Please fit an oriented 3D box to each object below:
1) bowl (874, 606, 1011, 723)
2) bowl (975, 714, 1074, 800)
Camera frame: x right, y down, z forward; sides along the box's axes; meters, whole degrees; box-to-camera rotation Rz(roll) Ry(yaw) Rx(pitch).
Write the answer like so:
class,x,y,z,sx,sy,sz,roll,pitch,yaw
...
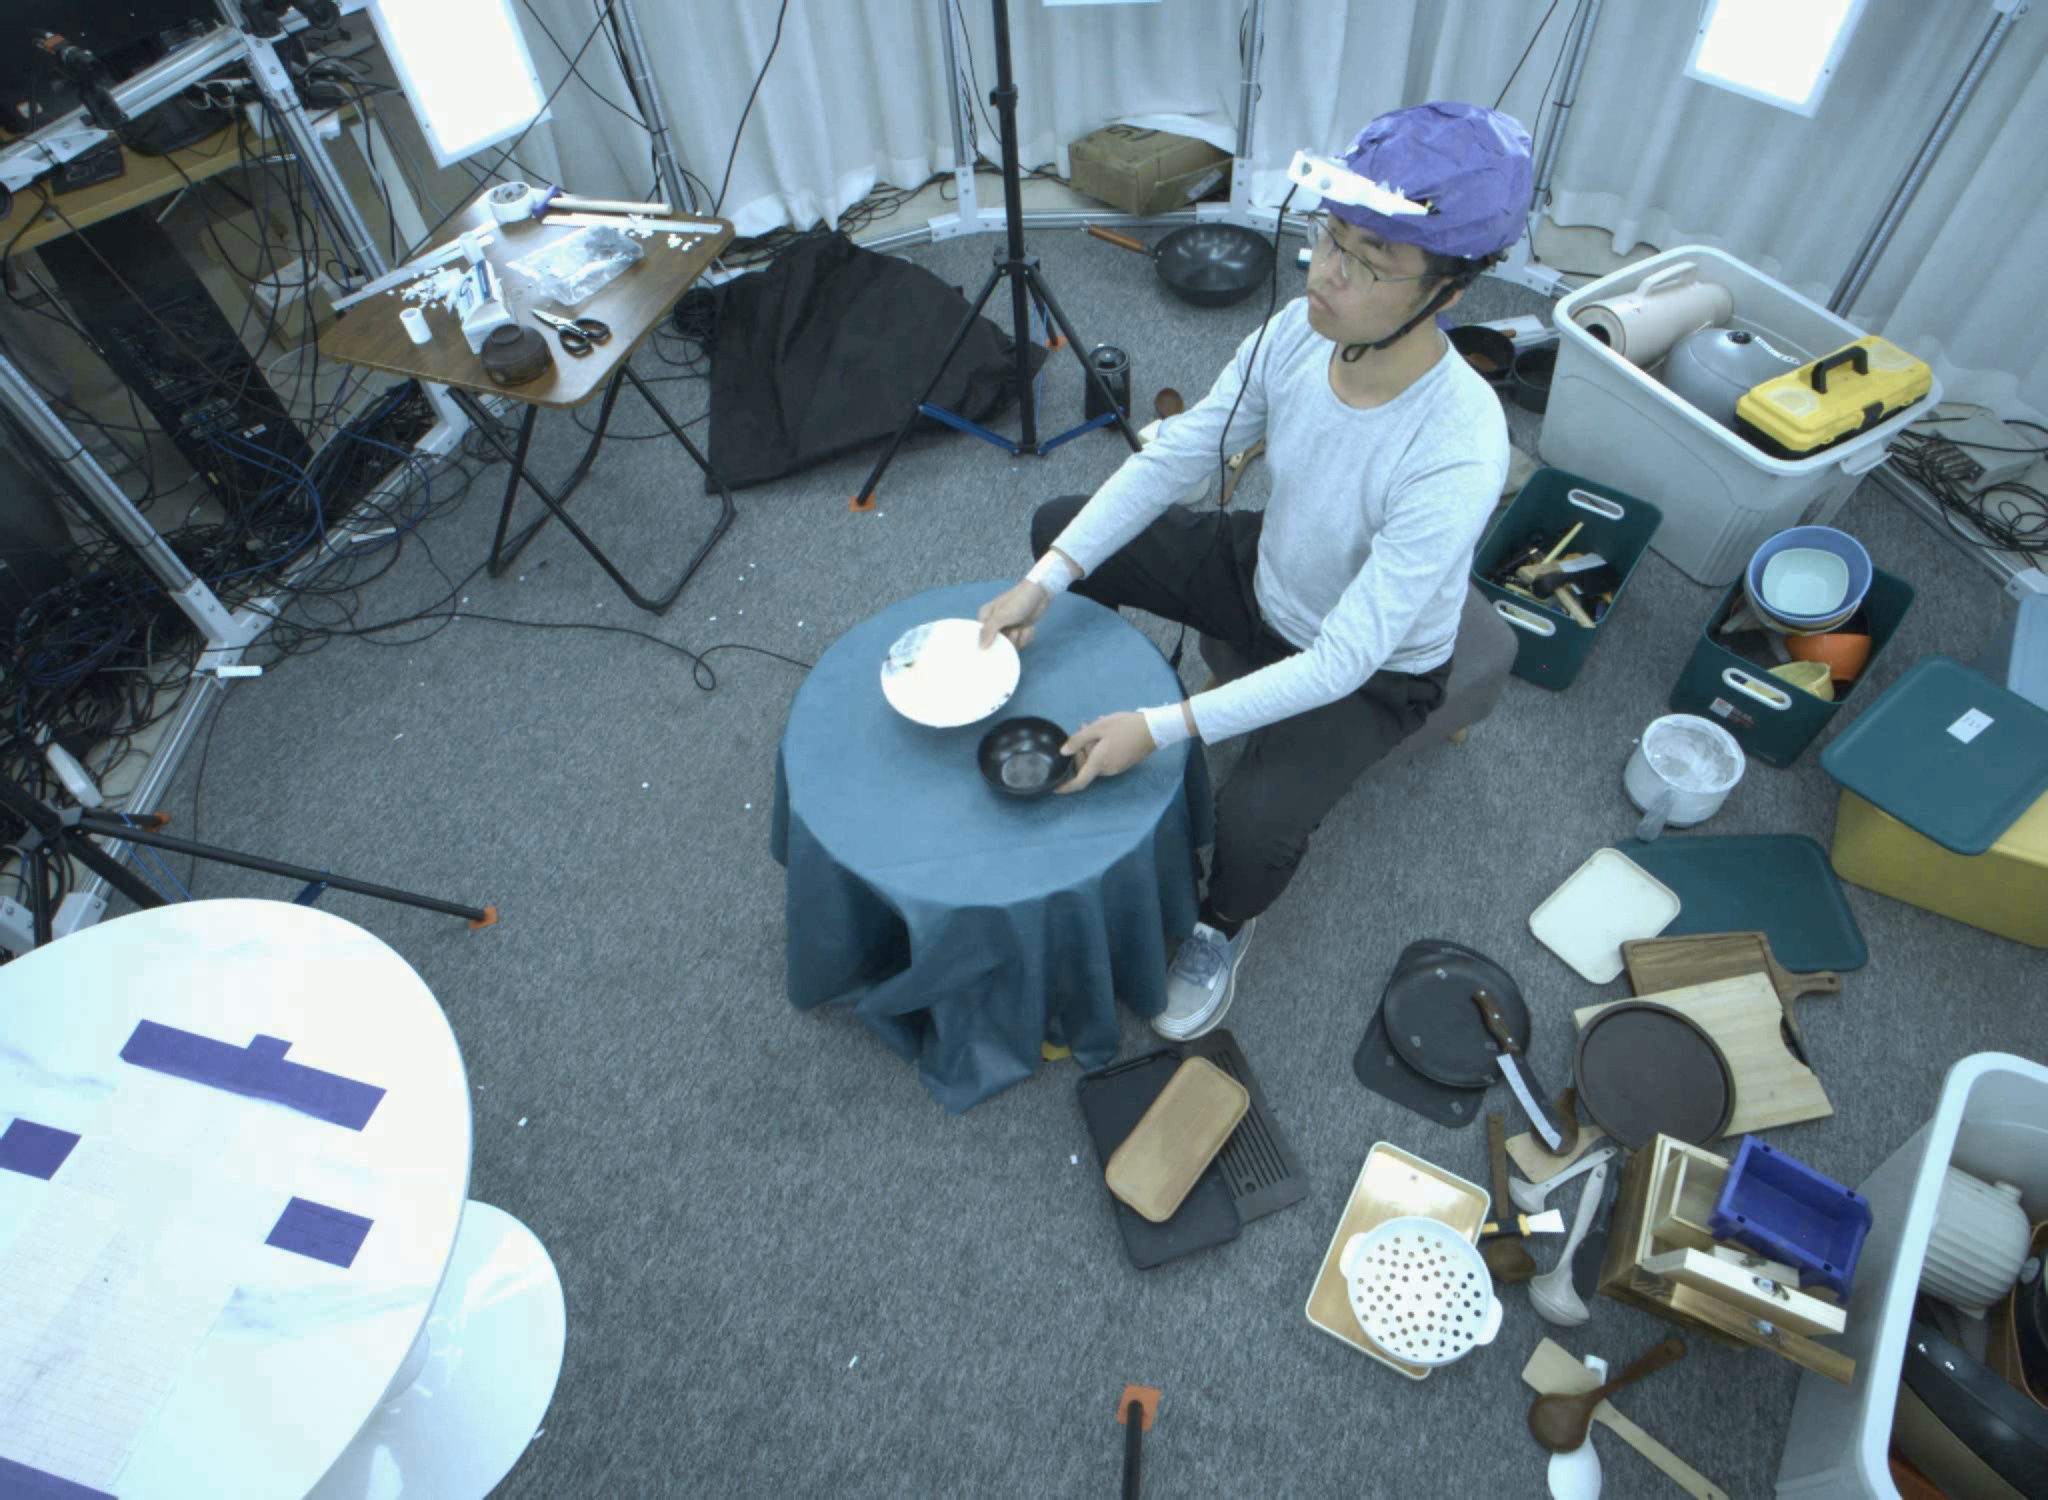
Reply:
class,x,y,z,sx,sy,sz,roll,pitch,yaw
bowl,-0.114,-0.109,1.810,0.203,0.079,0.202,-3,60,7
bowl,0.001,0.019,1.752,0.140,0.050,0.138,2,55,-1
